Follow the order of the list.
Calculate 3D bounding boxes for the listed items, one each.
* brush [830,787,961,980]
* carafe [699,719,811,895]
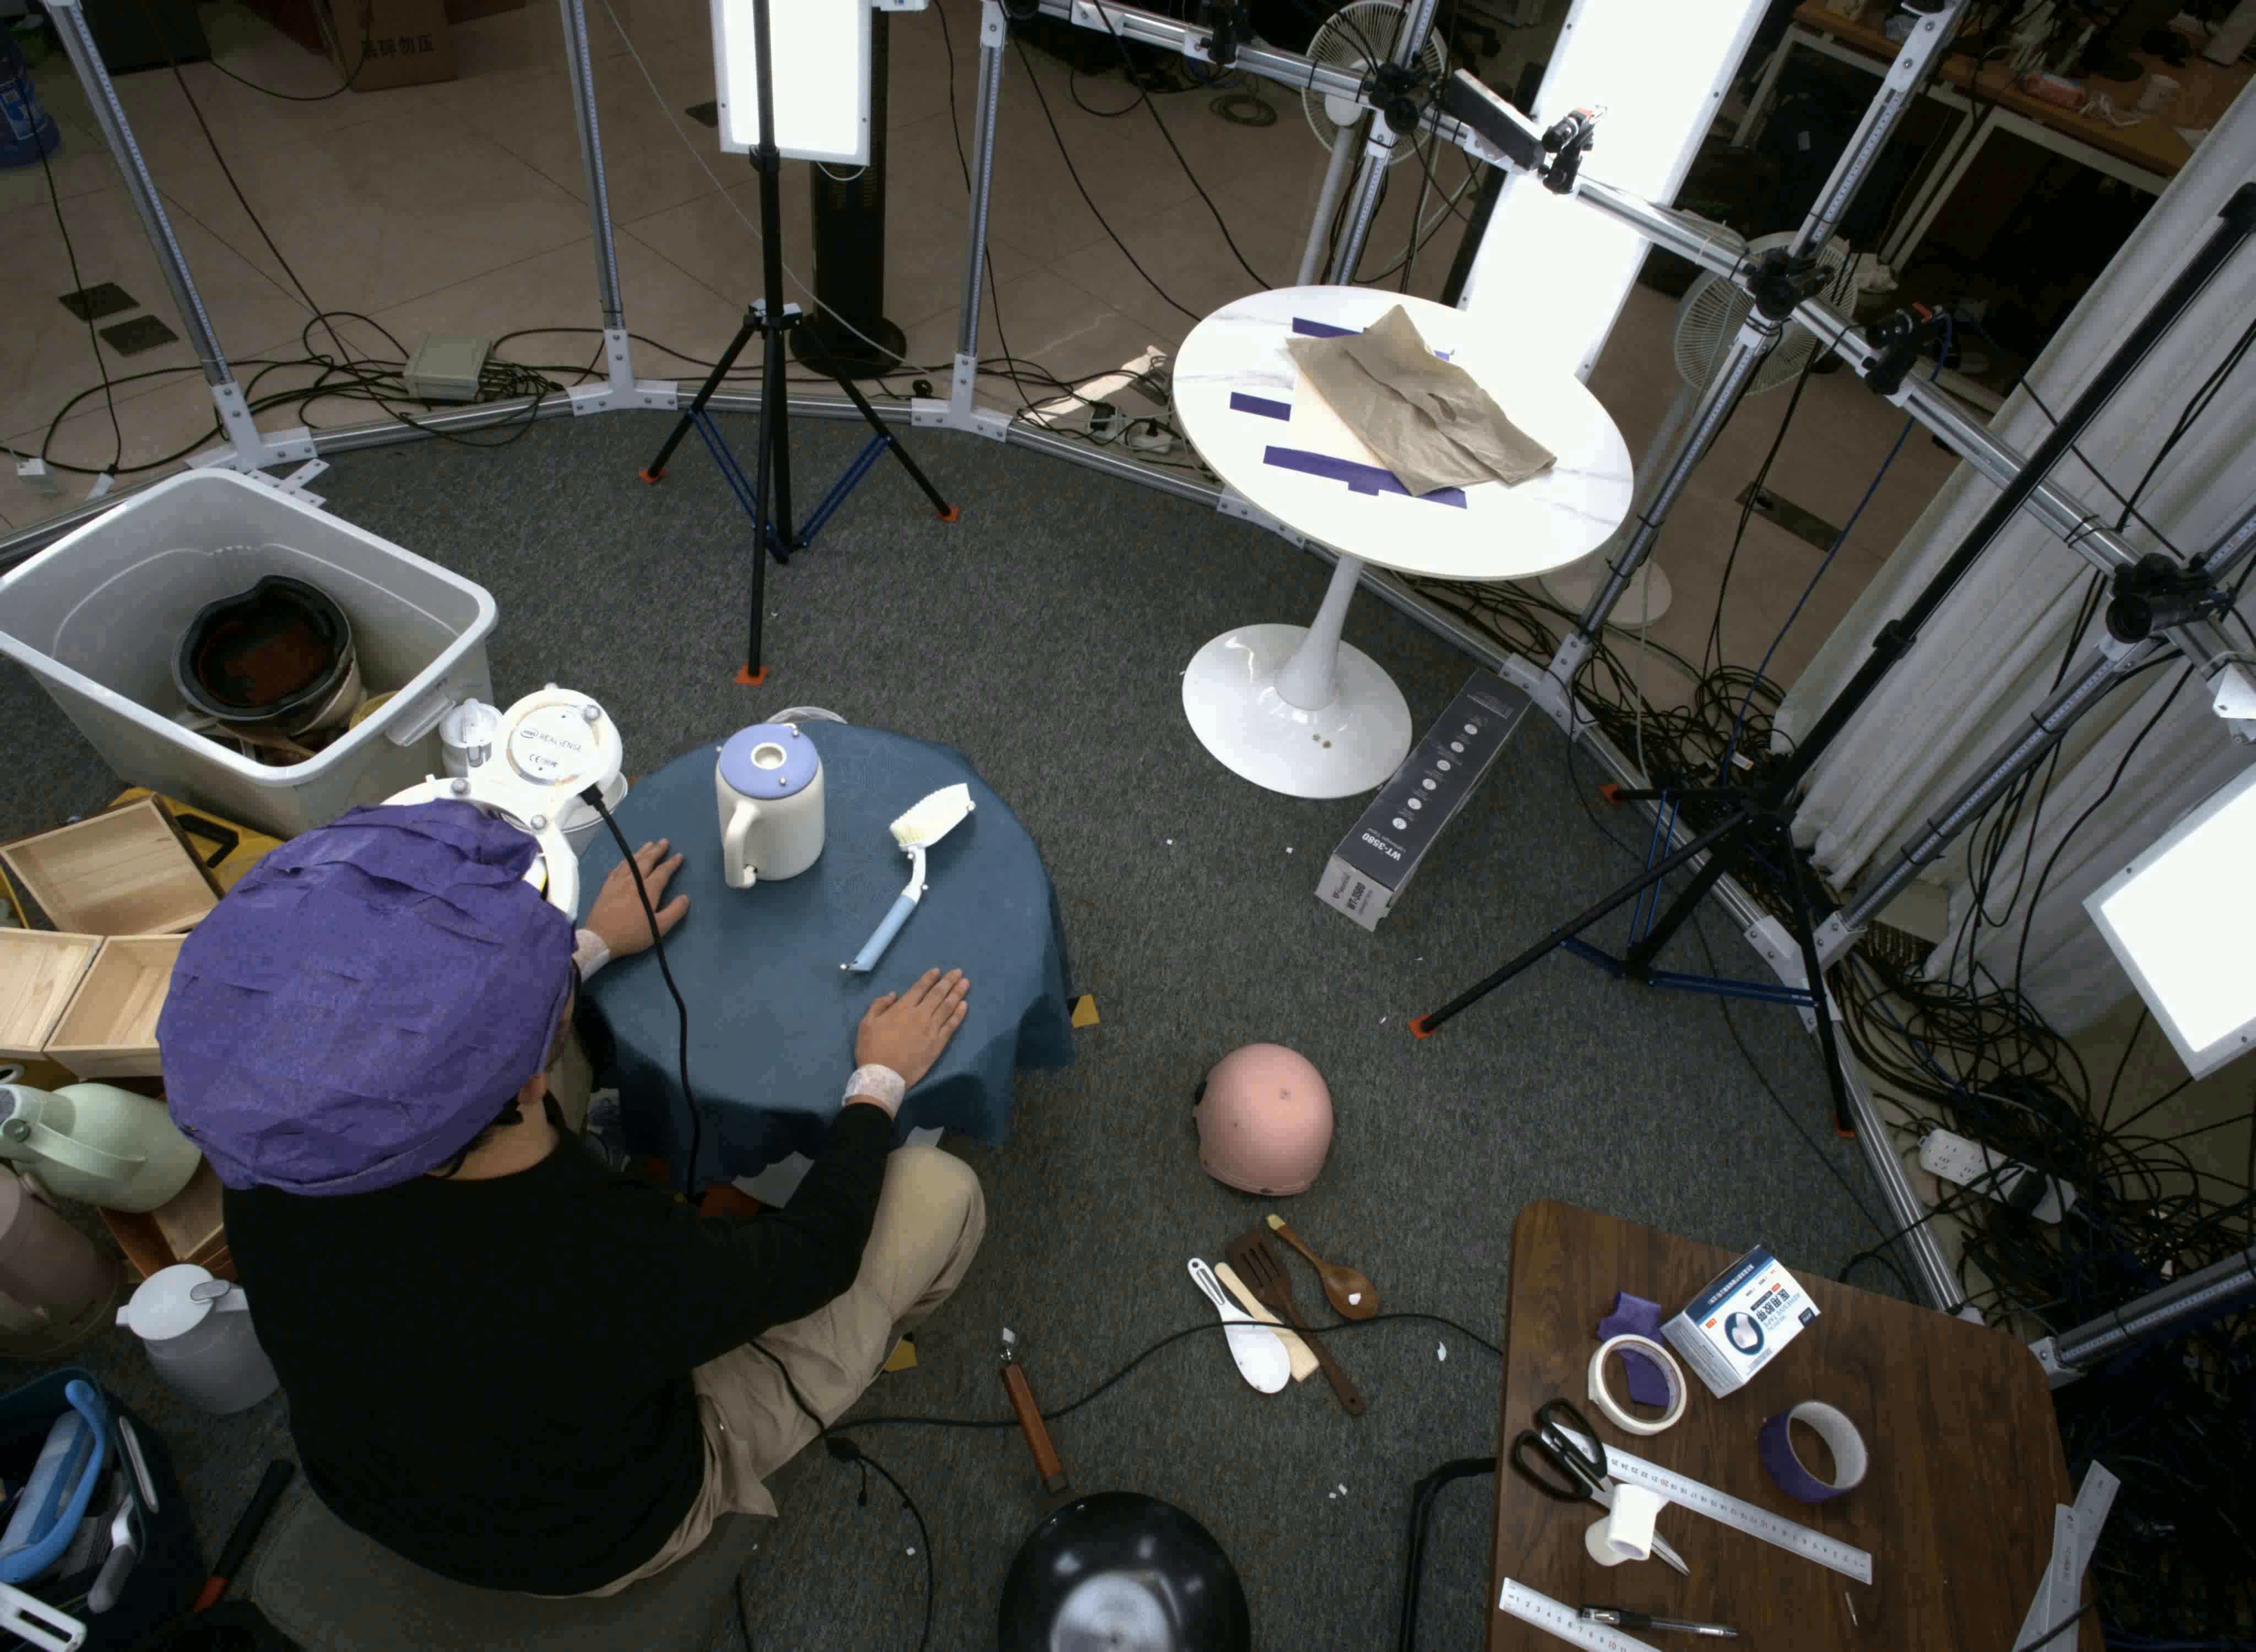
[{"bbox_3d":[-0.308,0.053,1.658,0.084,0.084,0.323,28,51,1],"label":"brush"},{"bbox_3d":[-0.471,-0.012,1.604,0.131,0.186,0.189,15,52,0],"label":"carafe"}]
